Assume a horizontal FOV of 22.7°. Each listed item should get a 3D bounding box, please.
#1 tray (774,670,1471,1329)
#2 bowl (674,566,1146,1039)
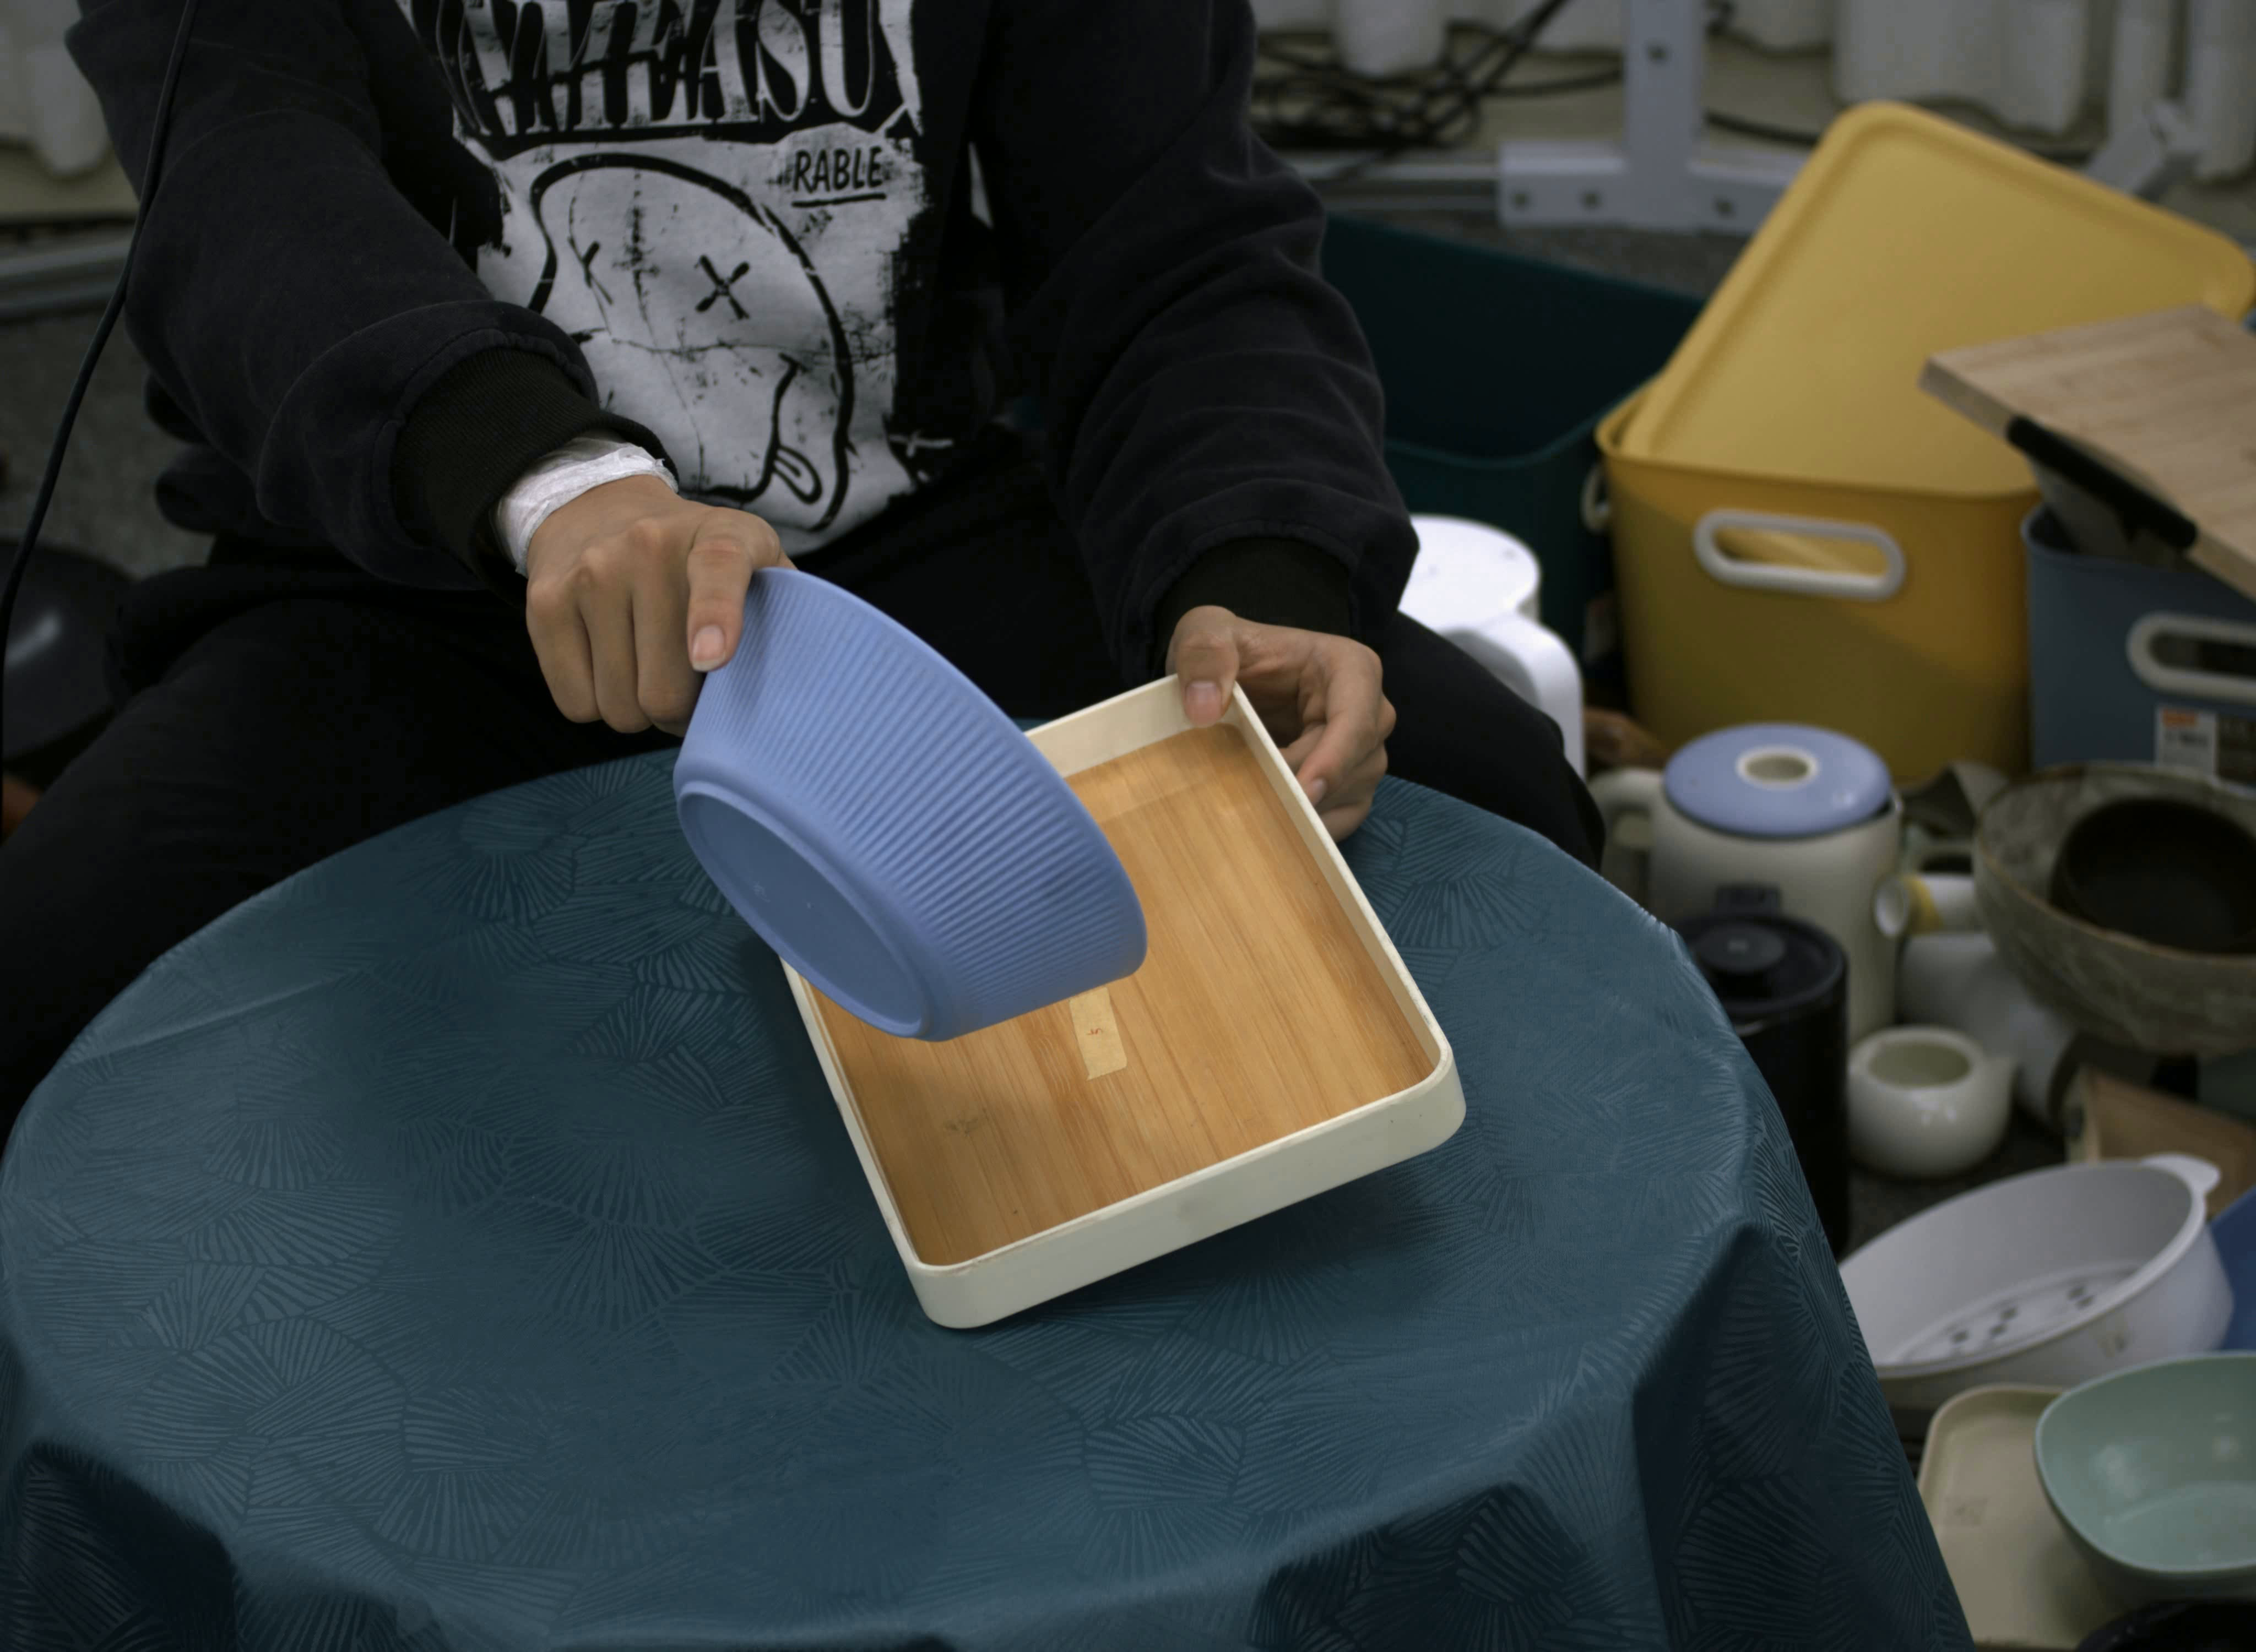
[{"bbox_3d":[-0.012,0.053,1.915,0.191,0.027,0.304,-21,31,-4],"label":"tray"},{"bbox_3d":[-0.081,0.004,1.781,0.071,0.174,0.176,-45,44,-19],"label":"bowl"}]
